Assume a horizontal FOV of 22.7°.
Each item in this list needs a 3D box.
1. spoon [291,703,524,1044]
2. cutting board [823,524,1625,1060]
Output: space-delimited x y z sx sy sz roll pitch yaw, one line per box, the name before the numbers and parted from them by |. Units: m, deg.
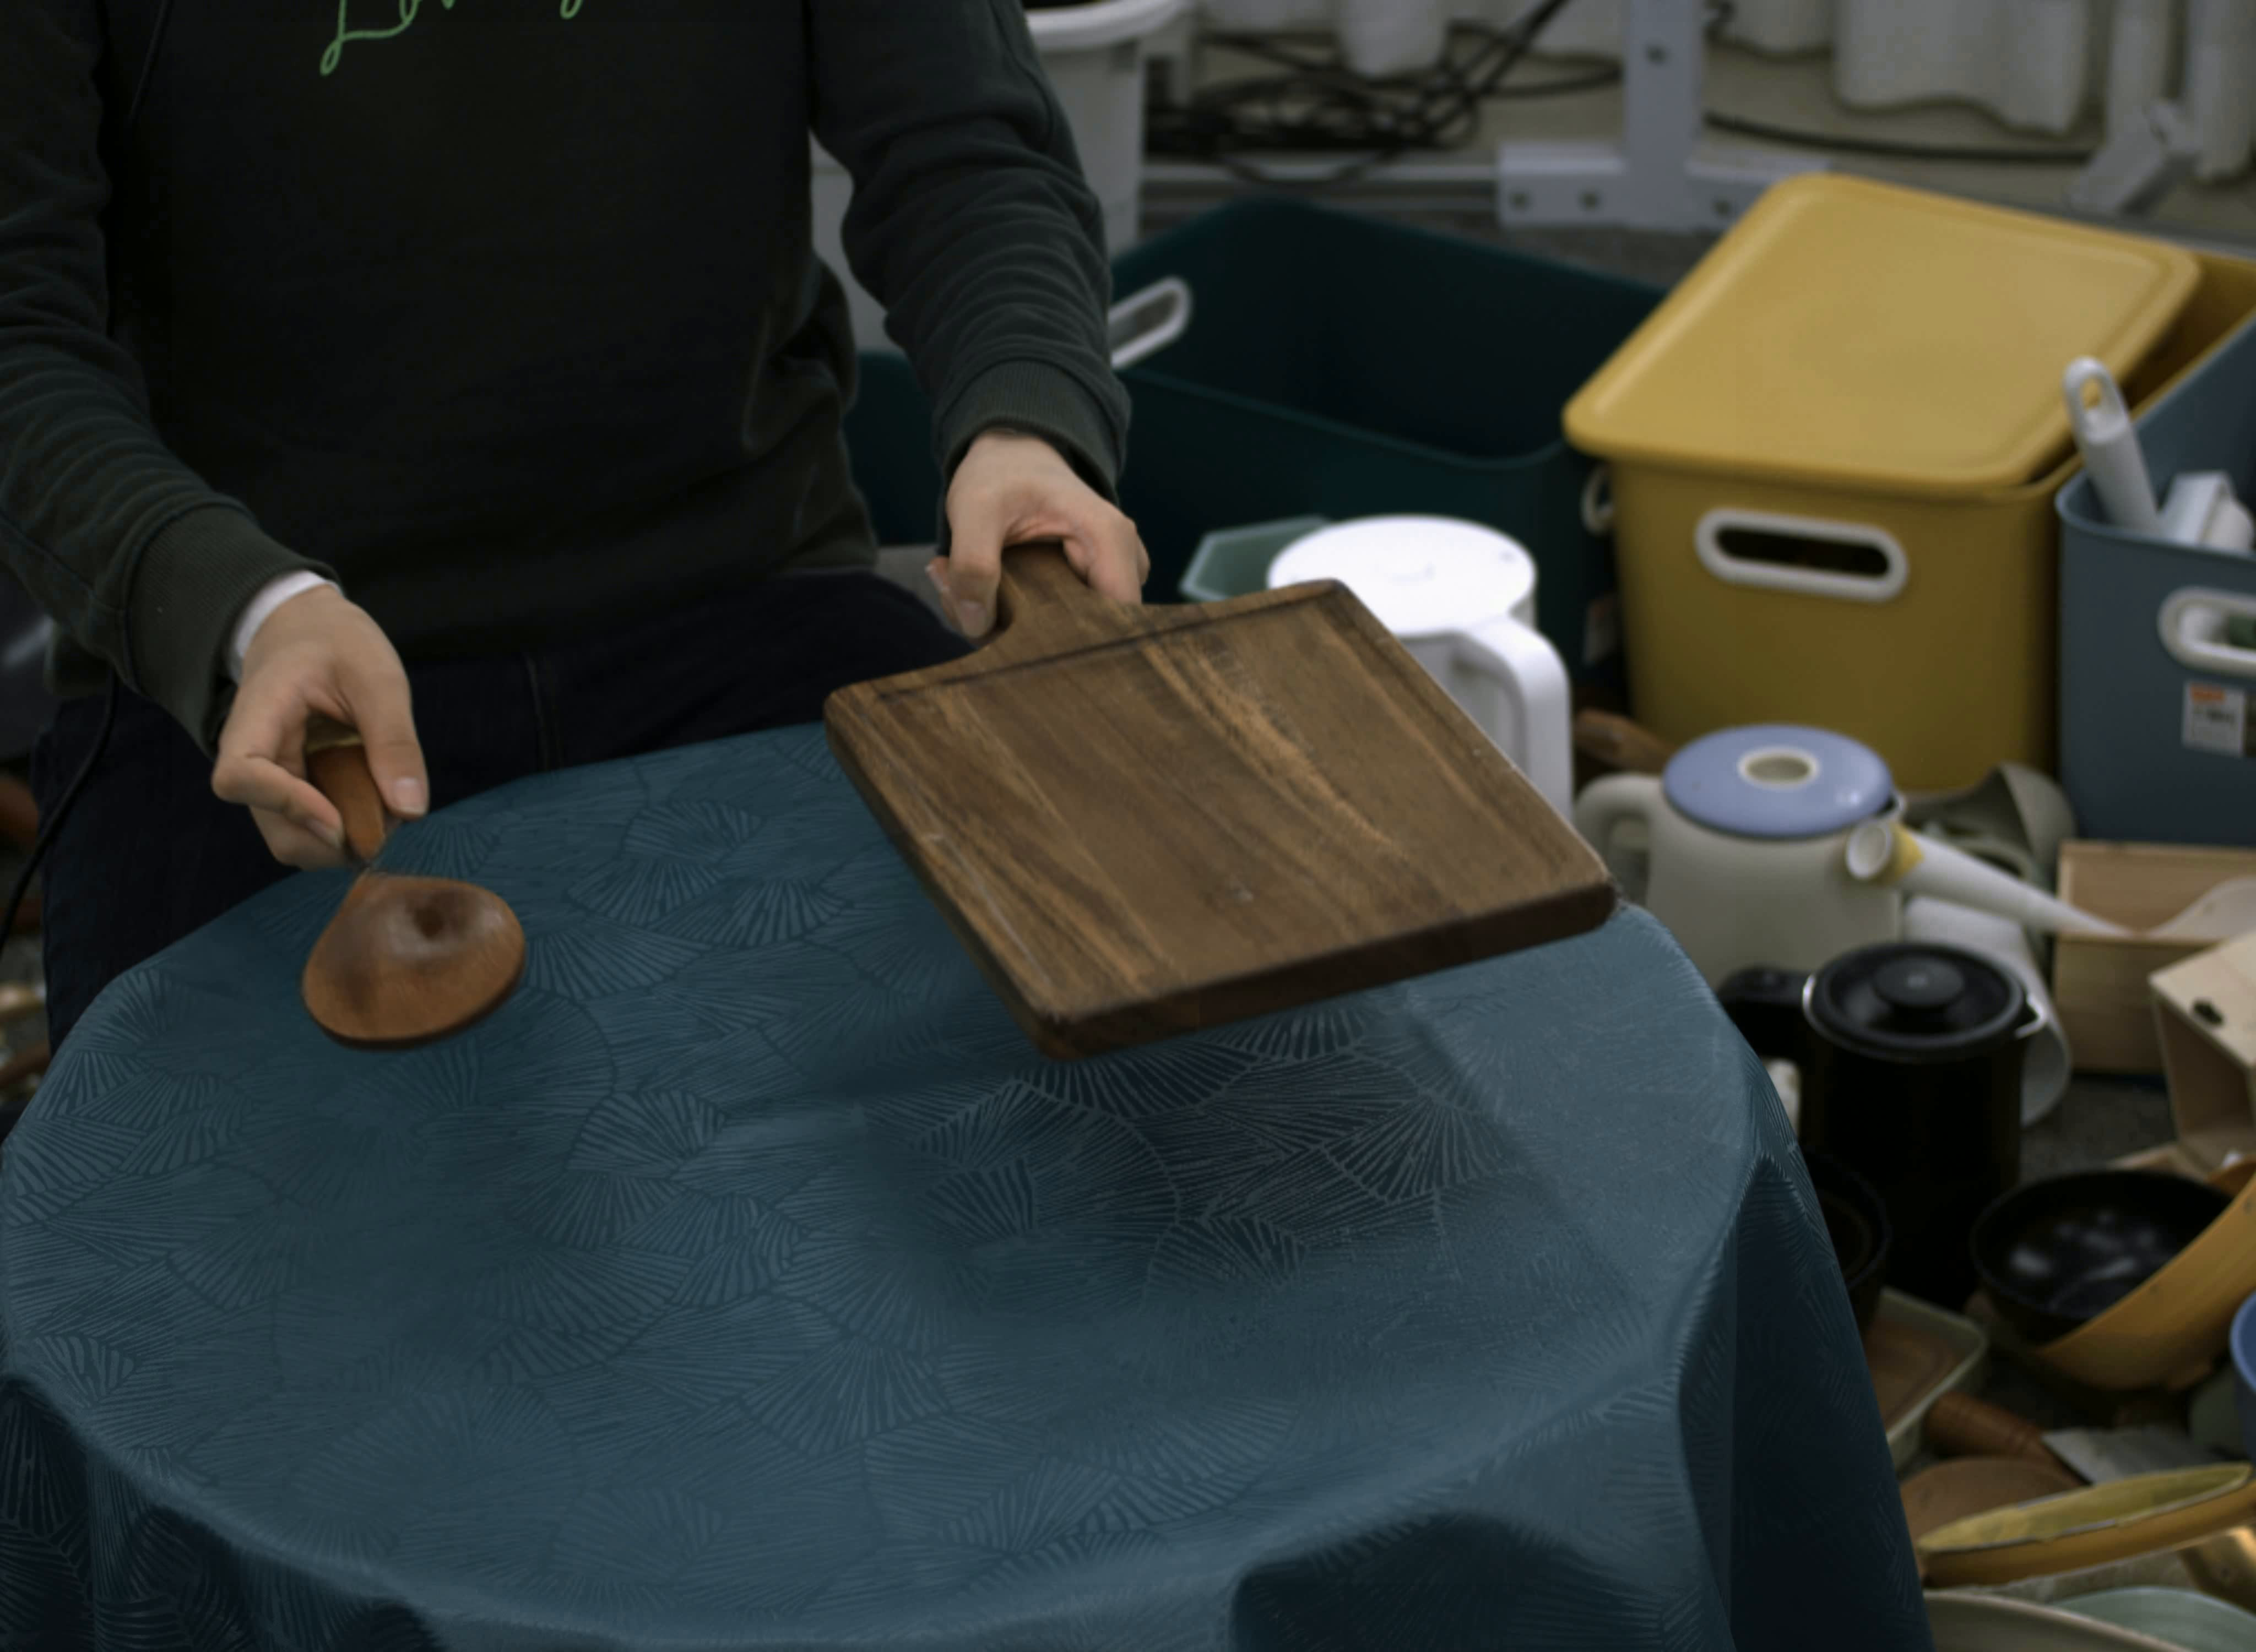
spoon | -0.248 0.015 1.866 0.075 0.017 0.218 -22 34 -6
cutting board | 0.010 -0.029 1.910 0.201 0.023 0.355 -14 28 -15
